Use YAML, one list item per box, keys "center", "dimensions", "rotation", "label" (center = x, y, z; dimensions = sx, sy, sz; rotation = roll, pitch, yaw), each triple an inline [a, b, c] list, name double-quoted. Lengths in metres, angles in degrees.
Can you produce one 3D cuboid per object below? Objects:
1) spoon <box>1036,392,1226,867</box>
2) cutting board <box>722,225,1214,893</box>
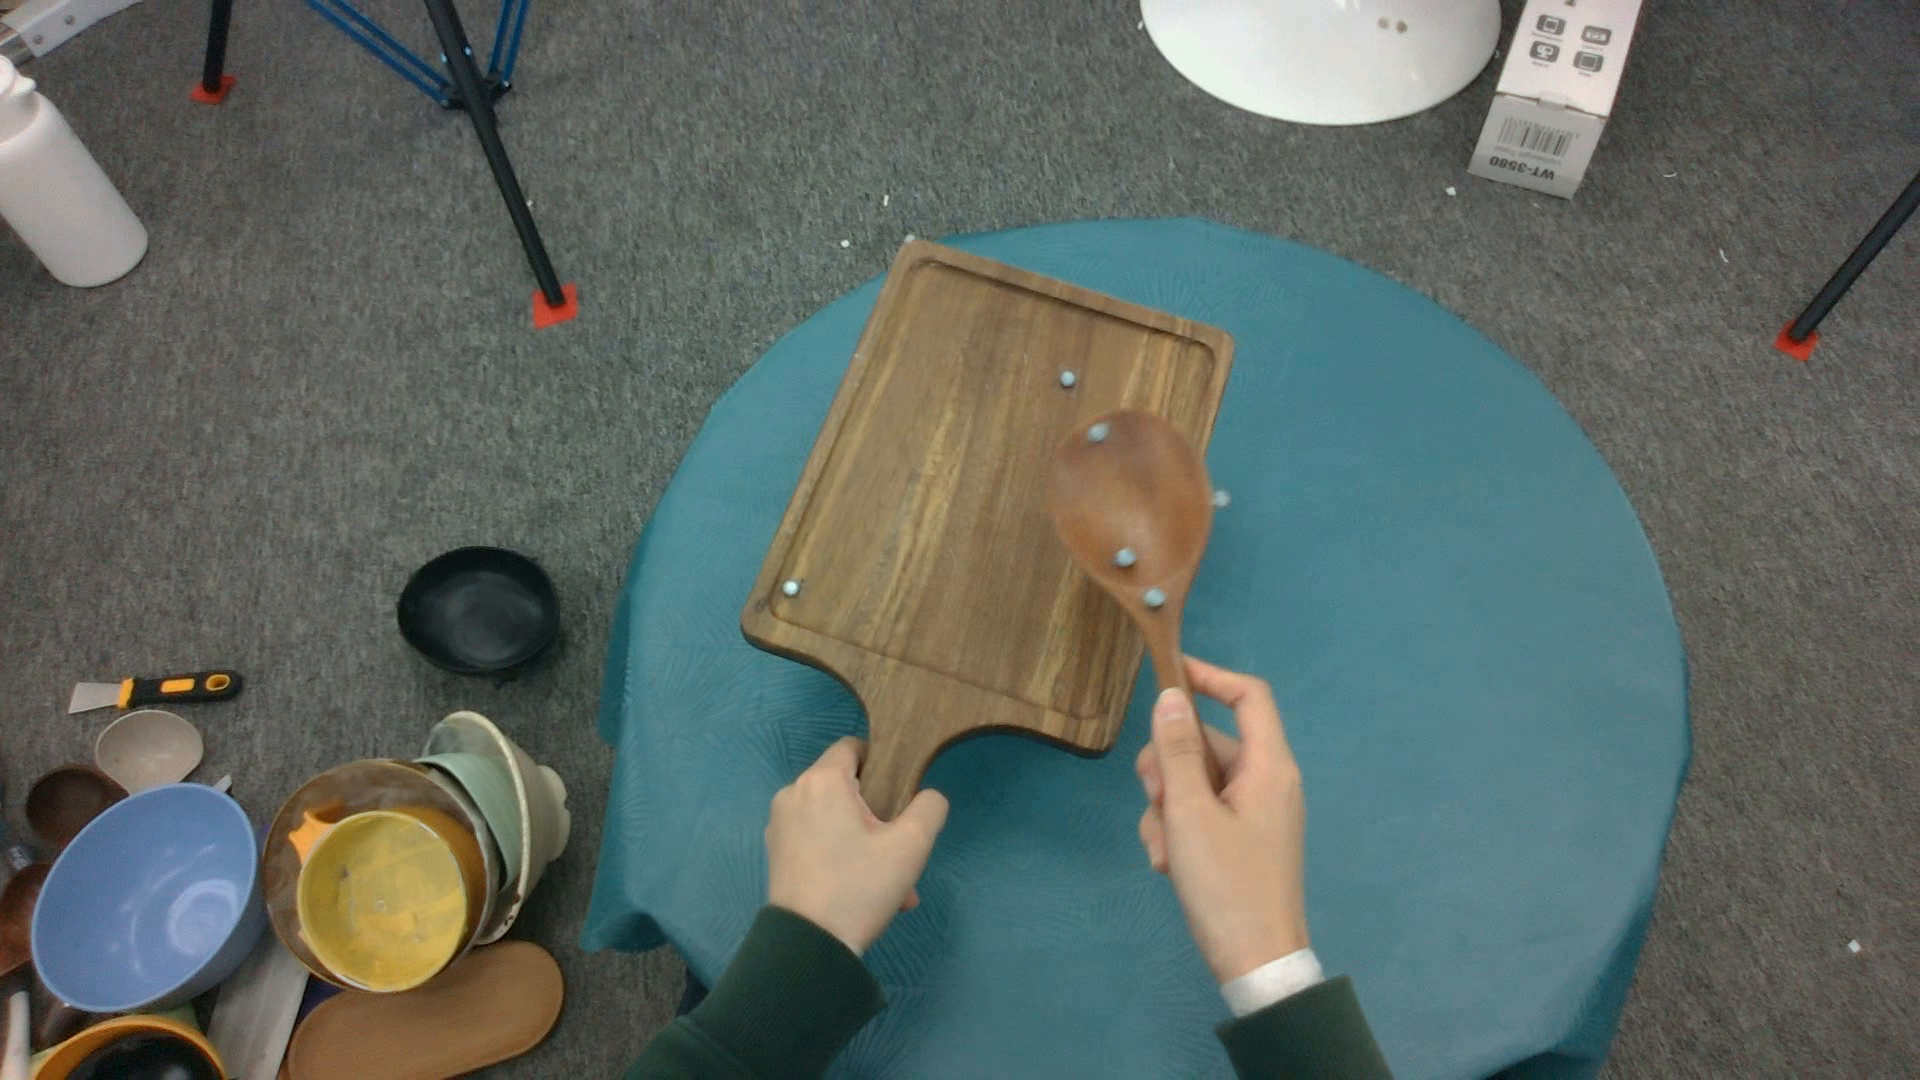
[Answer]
- center: [0.082, 0.034, 0.601]
  dimensions: [0.075, 0.017, 0.216]
  rotation: [-9, 68, 1]
  label: "spoon"
- center: [-0.004, 0.006, 0.702]
  dimensions: [0.201, 0.023, 0.353]
  rotation: [18, 68, 4]
  label: "cutting board"
